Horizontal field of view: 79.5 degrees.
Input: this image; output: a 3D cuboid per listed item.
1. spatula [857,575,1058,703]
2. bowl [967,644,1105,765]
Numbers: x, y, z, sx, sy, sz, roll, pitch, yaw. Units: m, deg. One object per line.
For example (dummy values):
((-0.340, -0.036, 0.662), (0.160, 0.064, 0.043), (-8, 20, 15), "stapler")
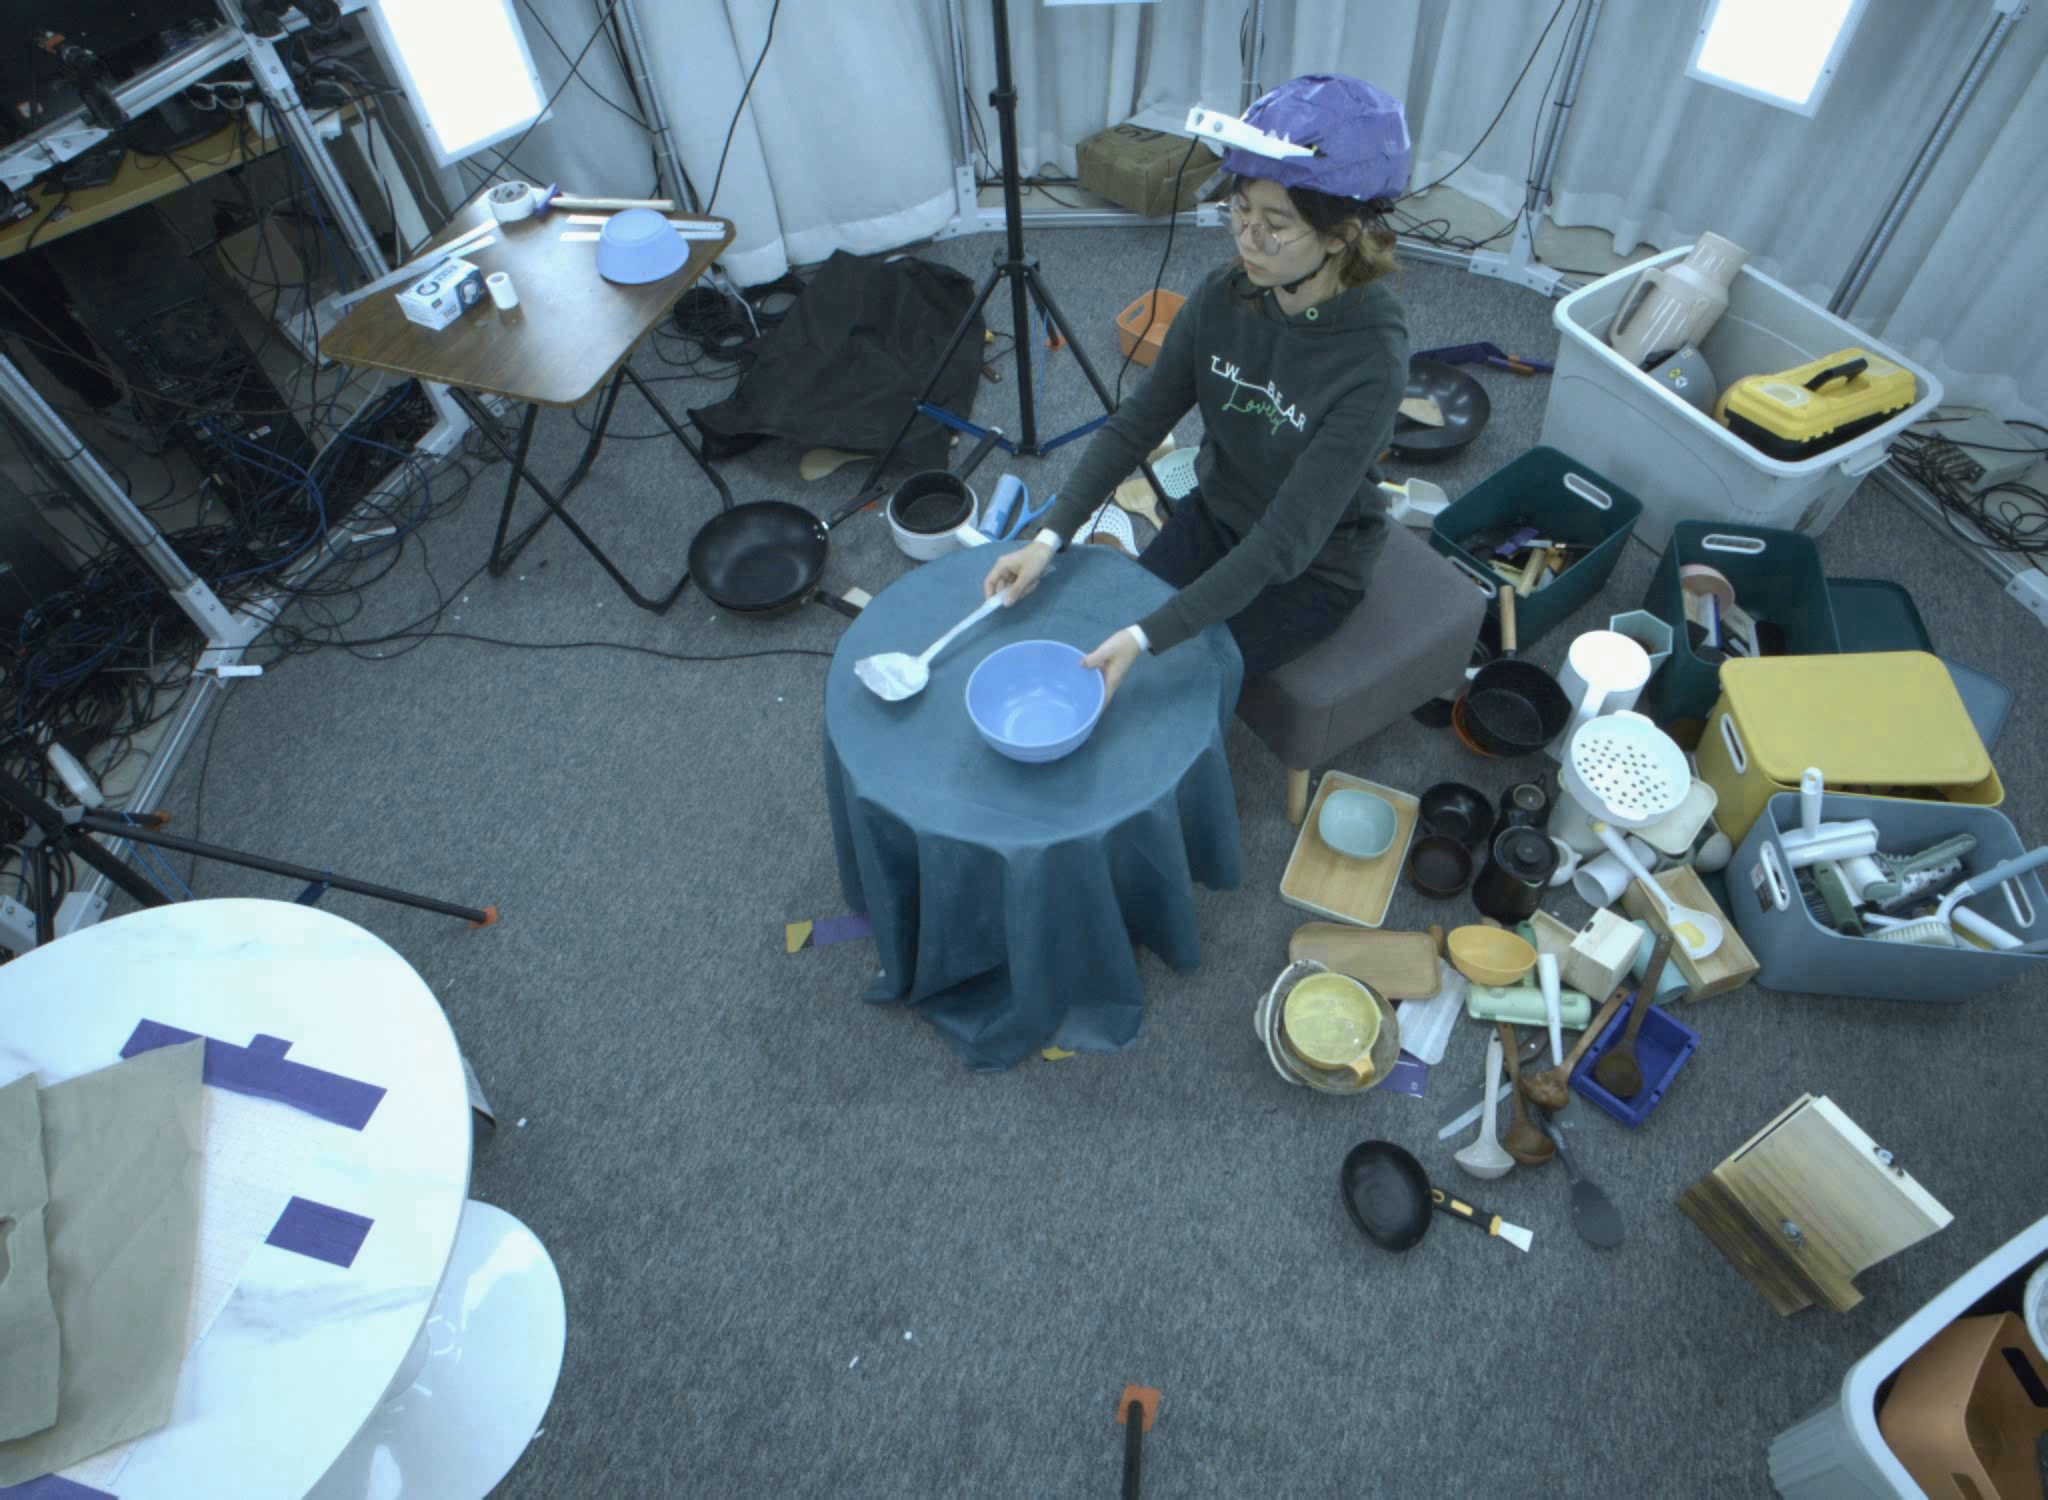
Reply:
((-0.092, -0.185, 1.885), (0.367, 0.045, 0.097), (-38, 63, -19), "spatula")
((0.021, -0.051, 1.772), (0.196, 0.096, 0.194), (-2, 53, 4), "bowl")
